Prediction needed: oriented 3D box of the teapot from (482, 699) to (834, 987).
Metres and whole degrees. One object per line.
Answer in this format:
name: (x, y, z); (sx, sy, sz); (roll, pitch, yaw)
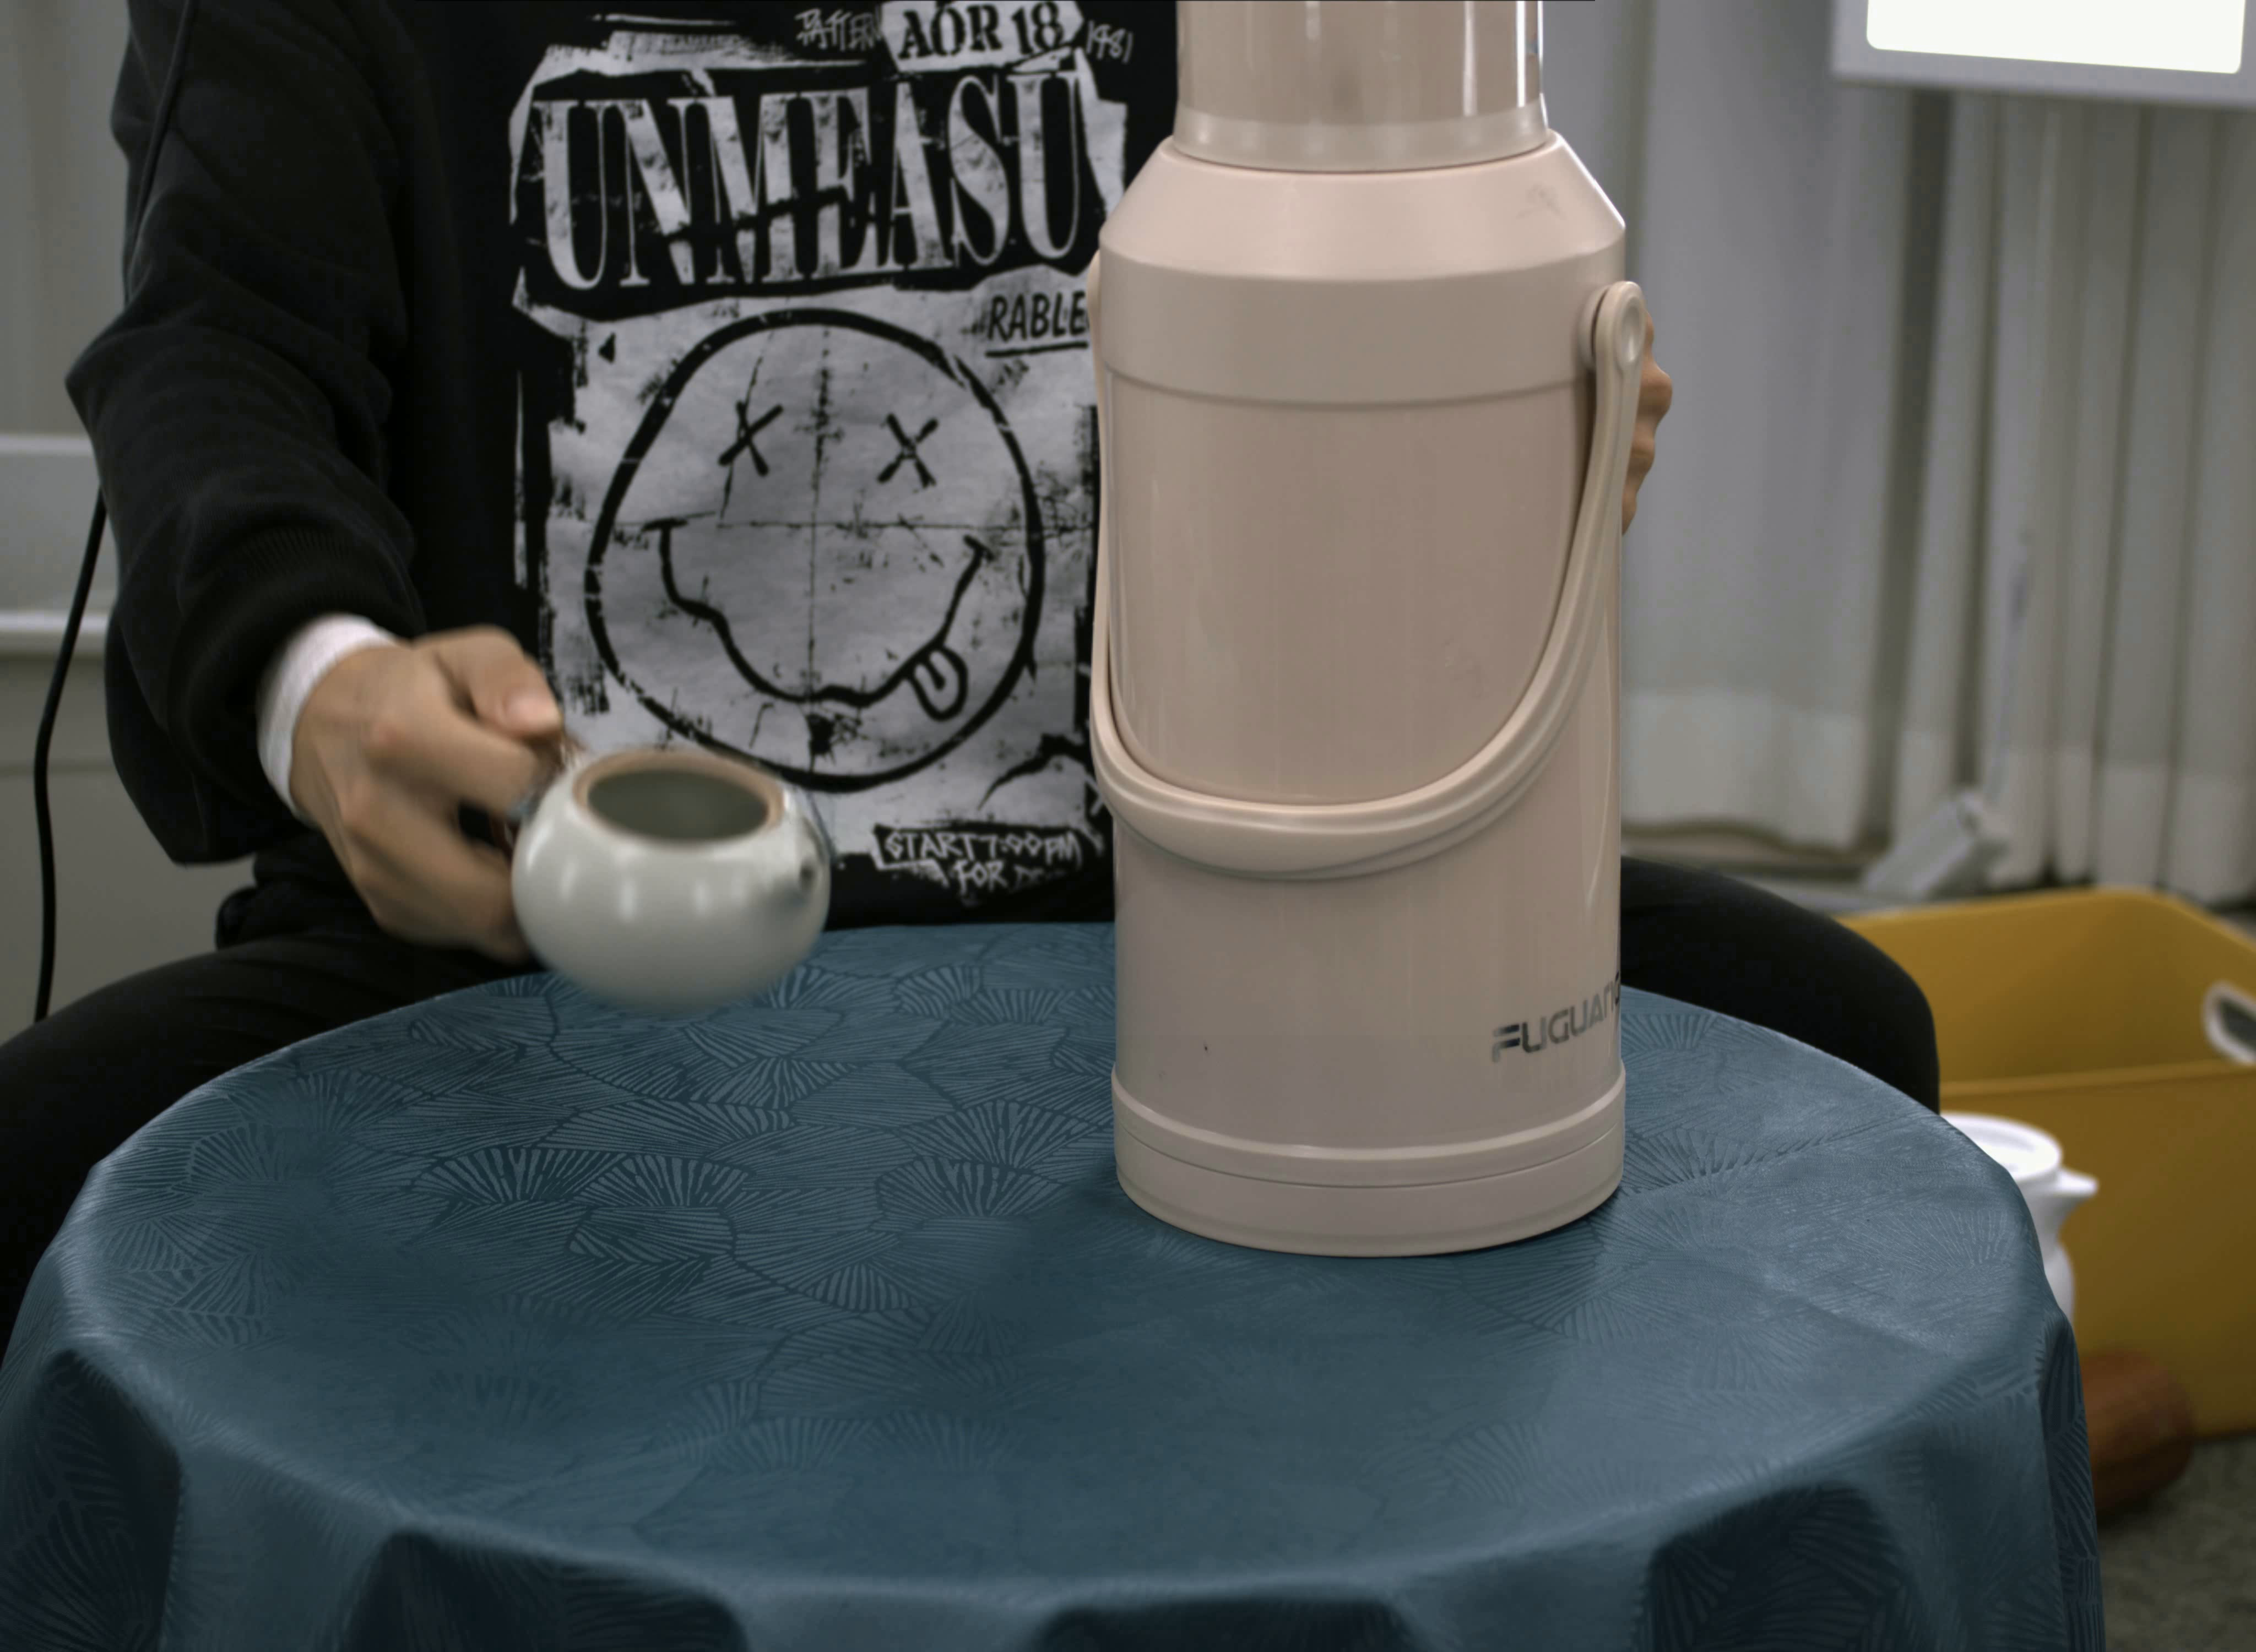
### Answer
teapot: (-0.138, 0.004, 1.508); (0.126, 0.060, 0.092); (25, 33, 28)

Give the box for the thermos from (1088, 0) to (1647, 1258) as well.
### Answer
thermos: (0.080, -0.088, 1.592); (0.173, 0.410, 0.207); (6, 19, 27)
